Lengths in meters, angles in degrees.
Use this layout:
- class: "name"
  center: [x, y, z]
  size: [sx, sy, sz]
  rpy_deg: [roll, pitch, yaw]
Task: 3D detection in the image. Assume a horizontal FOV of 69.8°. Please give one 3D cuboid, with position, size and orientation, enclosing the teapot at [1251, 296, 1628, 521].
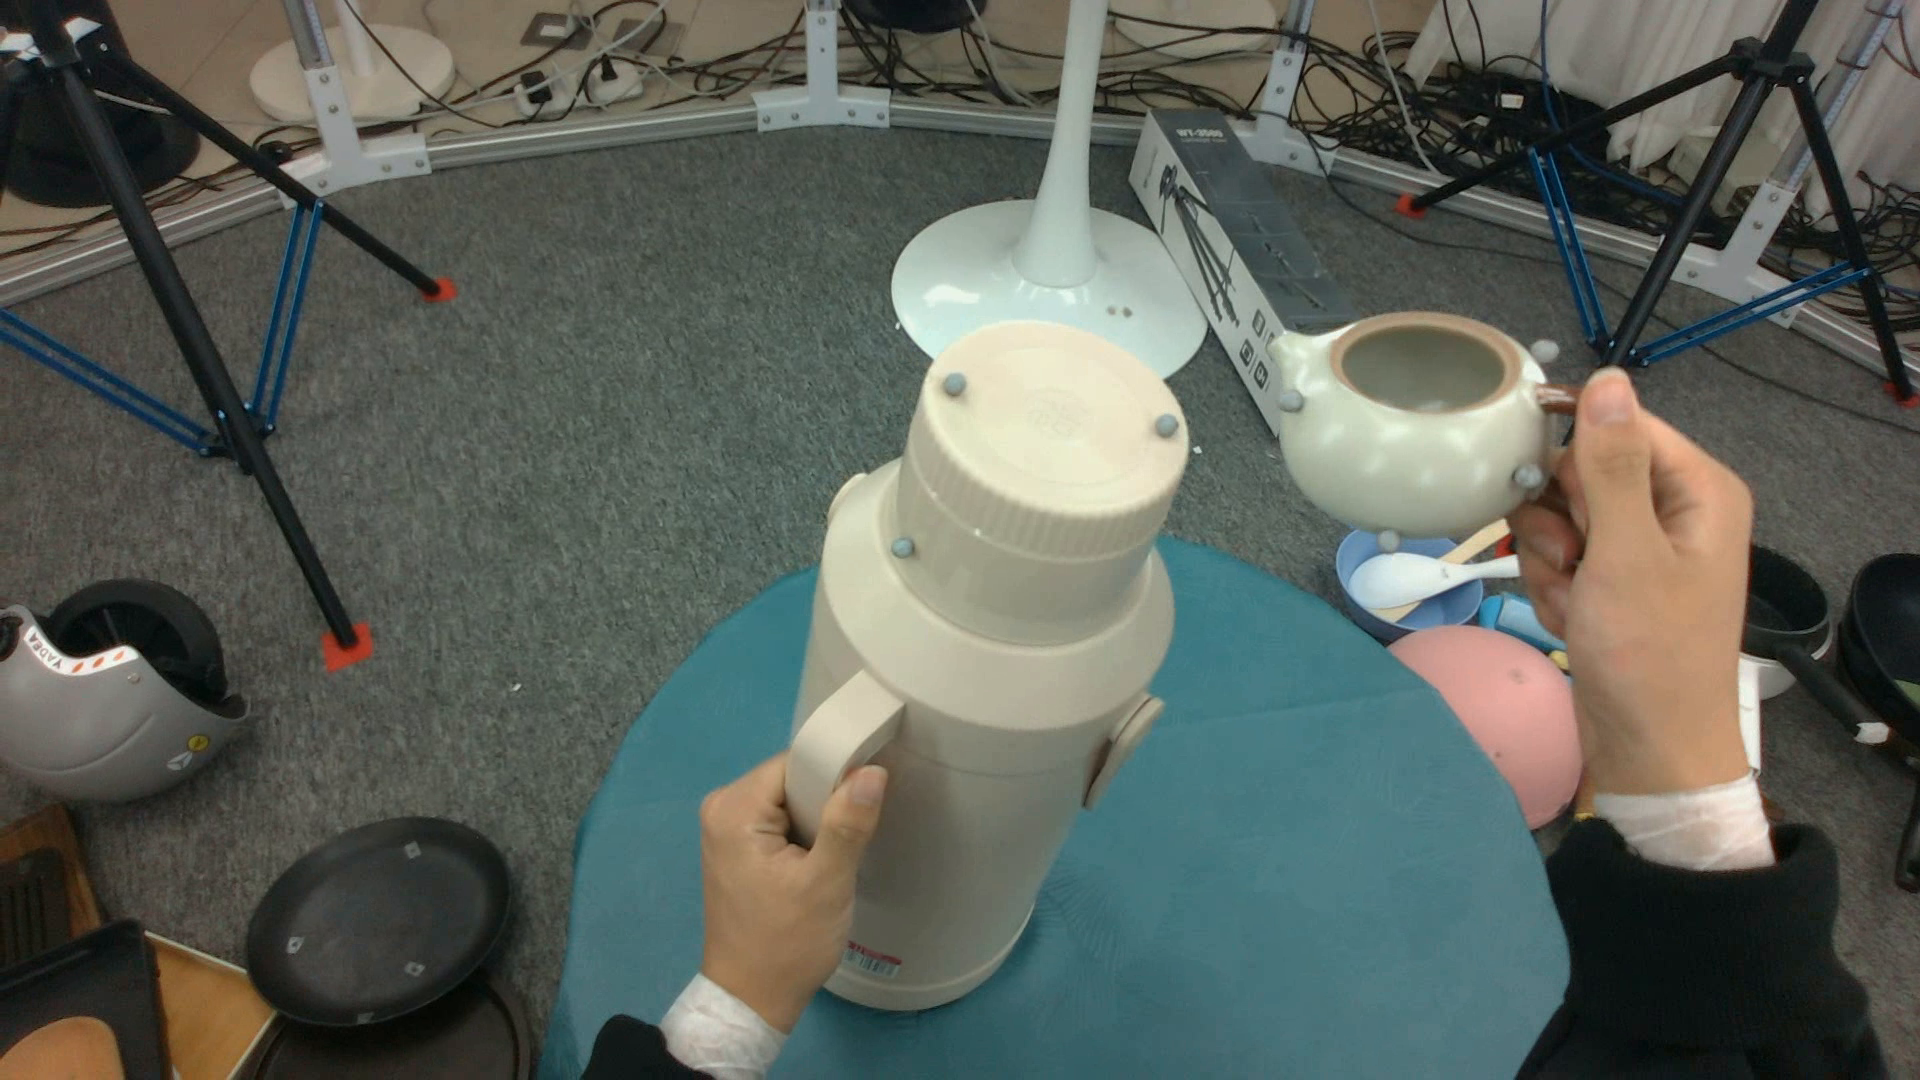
- class: "teapot"
  center: [0.164, -0.045, 0.482]
  size: [0.128, 0.059, 0.092]
  rpy_deg: [12, 42, 26]

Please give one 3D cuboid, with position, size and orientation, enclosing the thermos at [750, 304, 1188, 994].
- class: "thermos"
  center: [-0.014, 0.077, 0.661]
  size: [0.175, 0.404, 0.208]
  rpy_deg: [37, 51, 15]
